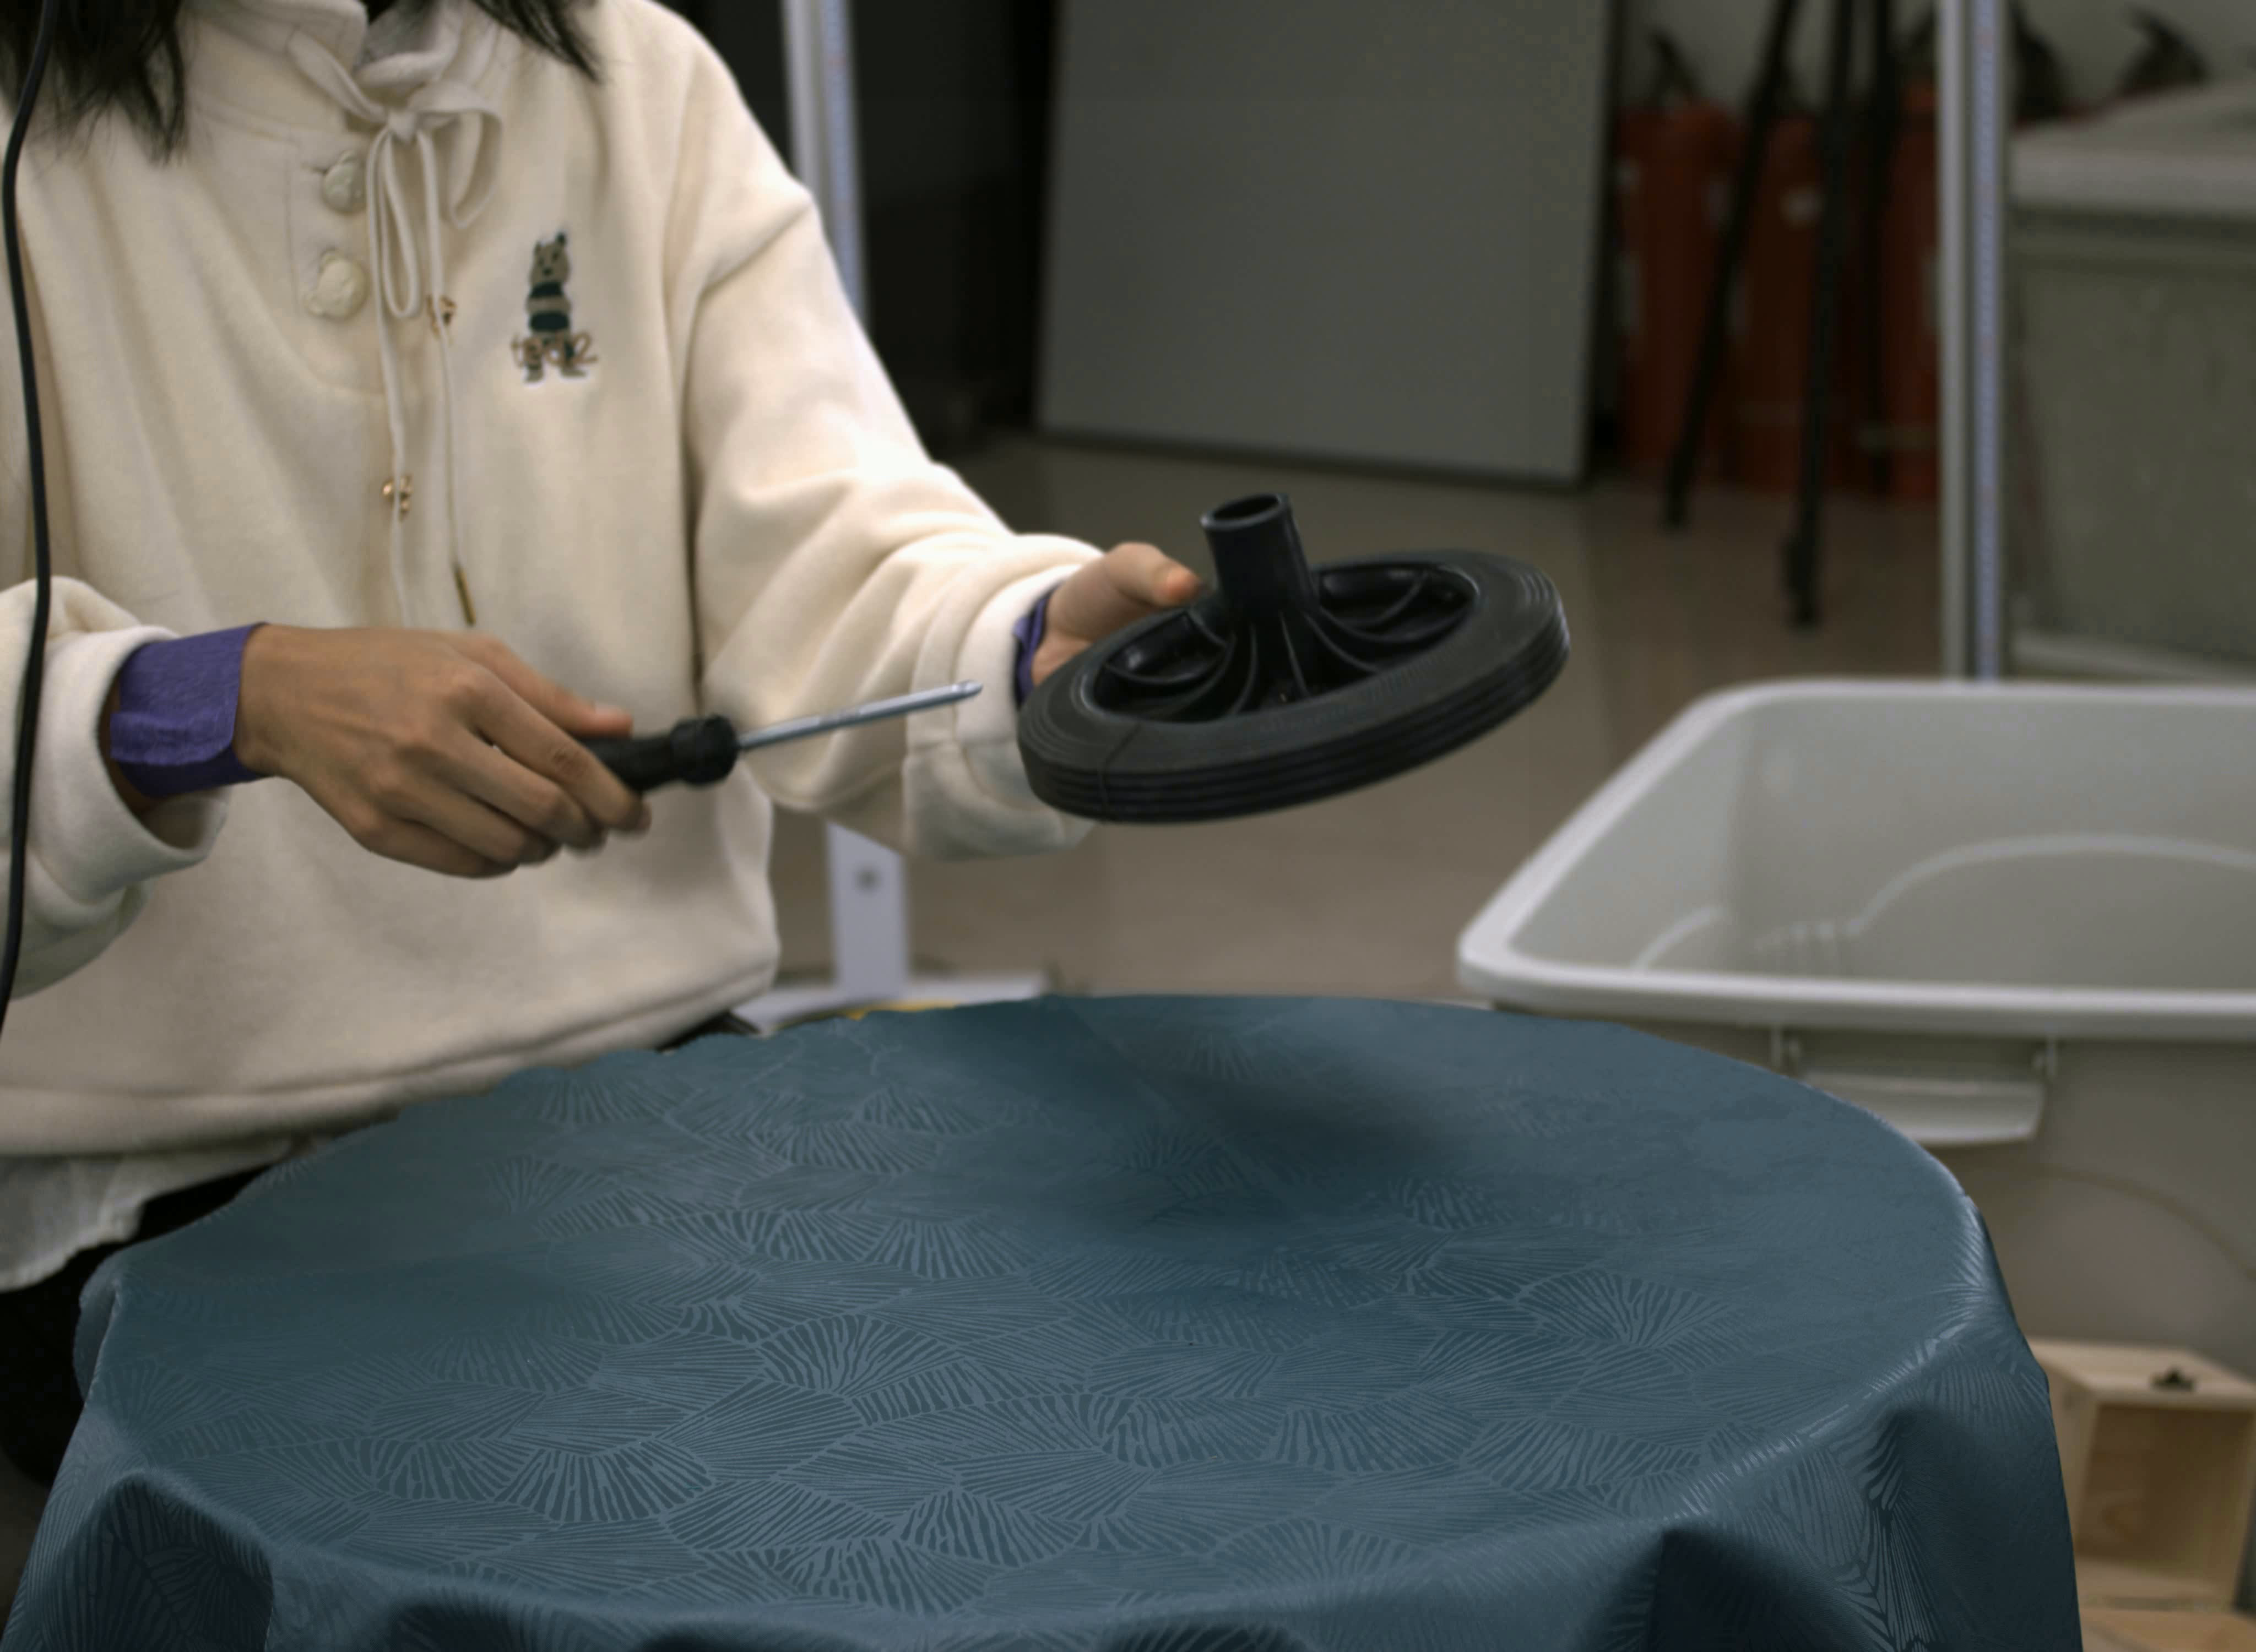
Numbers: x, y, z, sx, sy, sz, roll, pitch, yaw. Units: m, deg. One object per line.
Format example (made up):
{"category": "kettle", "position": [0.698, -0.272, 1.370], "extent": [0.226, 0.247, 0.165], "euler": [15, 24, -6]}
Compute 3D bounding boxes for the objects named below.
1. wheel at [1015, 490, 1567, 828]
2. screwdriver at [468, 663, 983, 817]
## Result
{"category": "wheel", "position": [0.048, -0.068, 1.780], "extent": [0.185, 0.079, 0.191], "euler": [-19, 20, -5]}
{"category": "screwdriver", "position": [-0.132, -0.035, 1.744], "extent": [0.197, 0.032, 0.031], "euler": [-16, 6, 29]}
